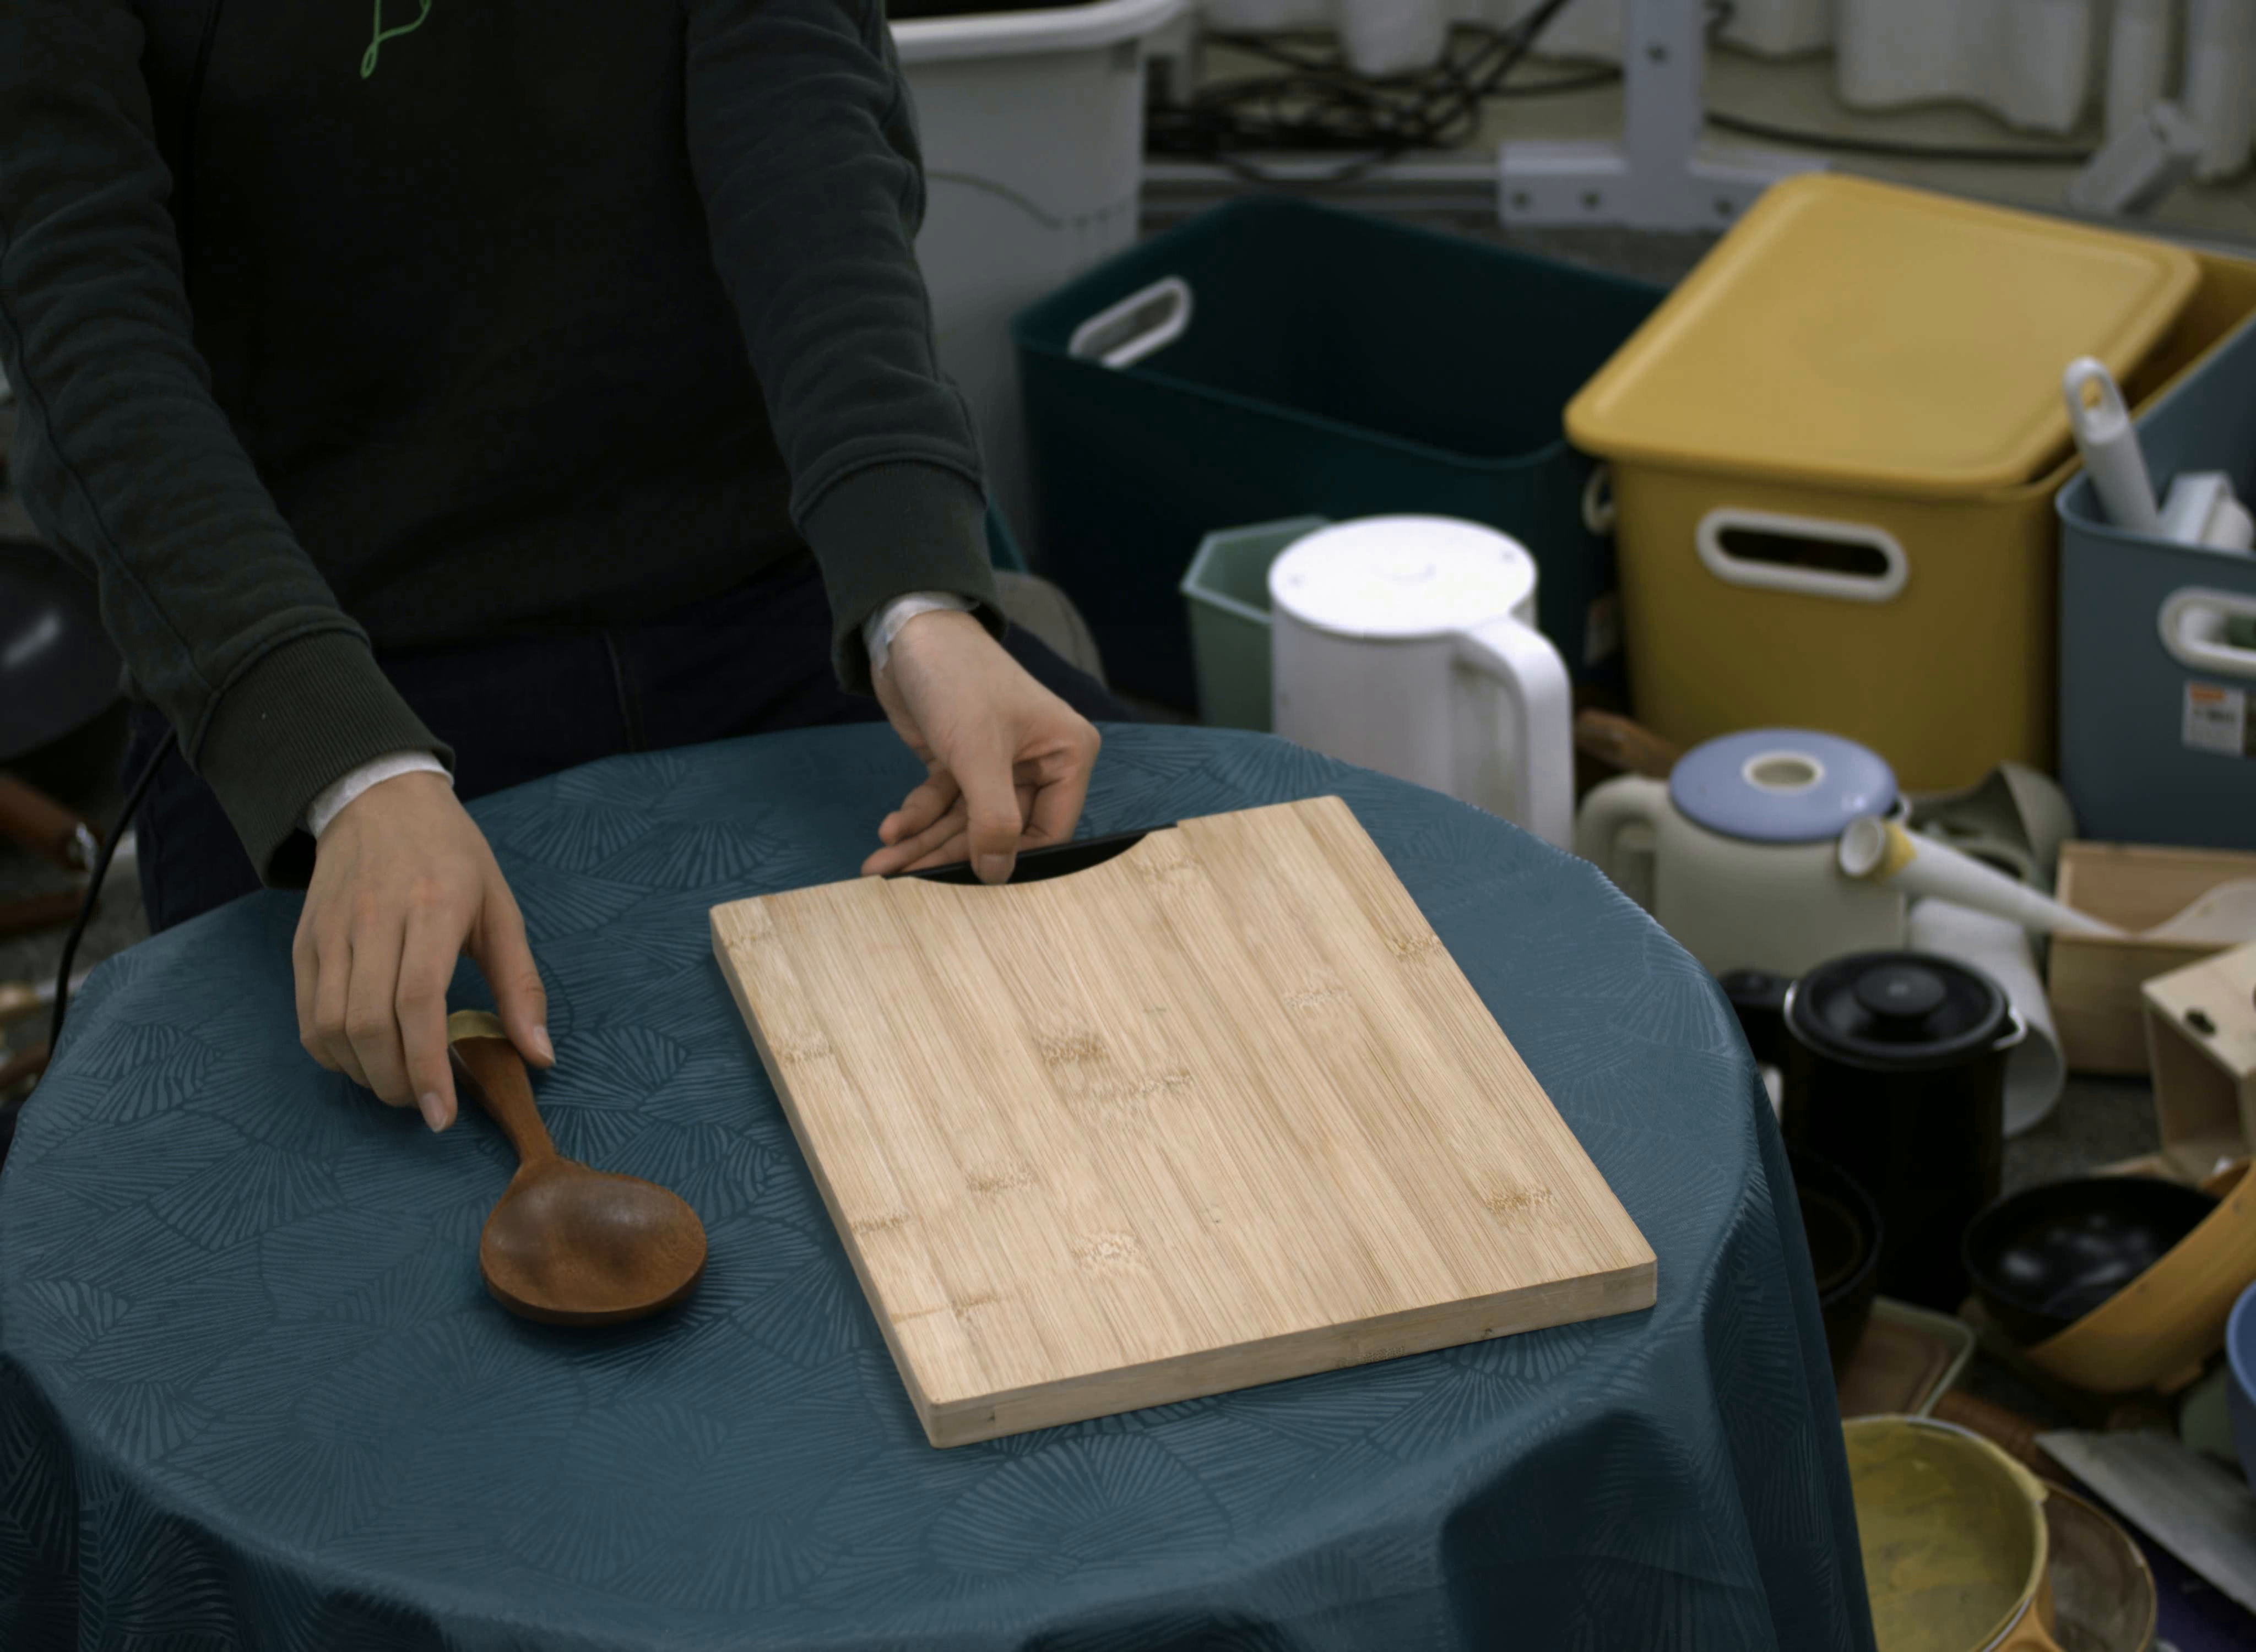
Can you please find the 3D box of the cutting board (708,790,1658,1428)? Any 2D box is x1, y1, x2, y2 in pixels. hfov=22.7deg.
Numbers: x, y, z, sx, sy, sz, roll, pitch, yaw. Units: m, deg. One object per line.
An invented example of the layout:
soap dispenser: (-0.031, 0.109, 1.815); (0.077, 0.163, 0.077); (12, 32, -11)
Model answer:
cutting board: (0.008, 0.089, 1.906); (0.251, 0.023, 0.352); (-9, 28, -14)

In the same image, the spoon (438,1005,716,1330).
spoon: (-0.194, 0.114, 1.876); (0.075, 0.017, 0.217); (-13, 29, -16)
